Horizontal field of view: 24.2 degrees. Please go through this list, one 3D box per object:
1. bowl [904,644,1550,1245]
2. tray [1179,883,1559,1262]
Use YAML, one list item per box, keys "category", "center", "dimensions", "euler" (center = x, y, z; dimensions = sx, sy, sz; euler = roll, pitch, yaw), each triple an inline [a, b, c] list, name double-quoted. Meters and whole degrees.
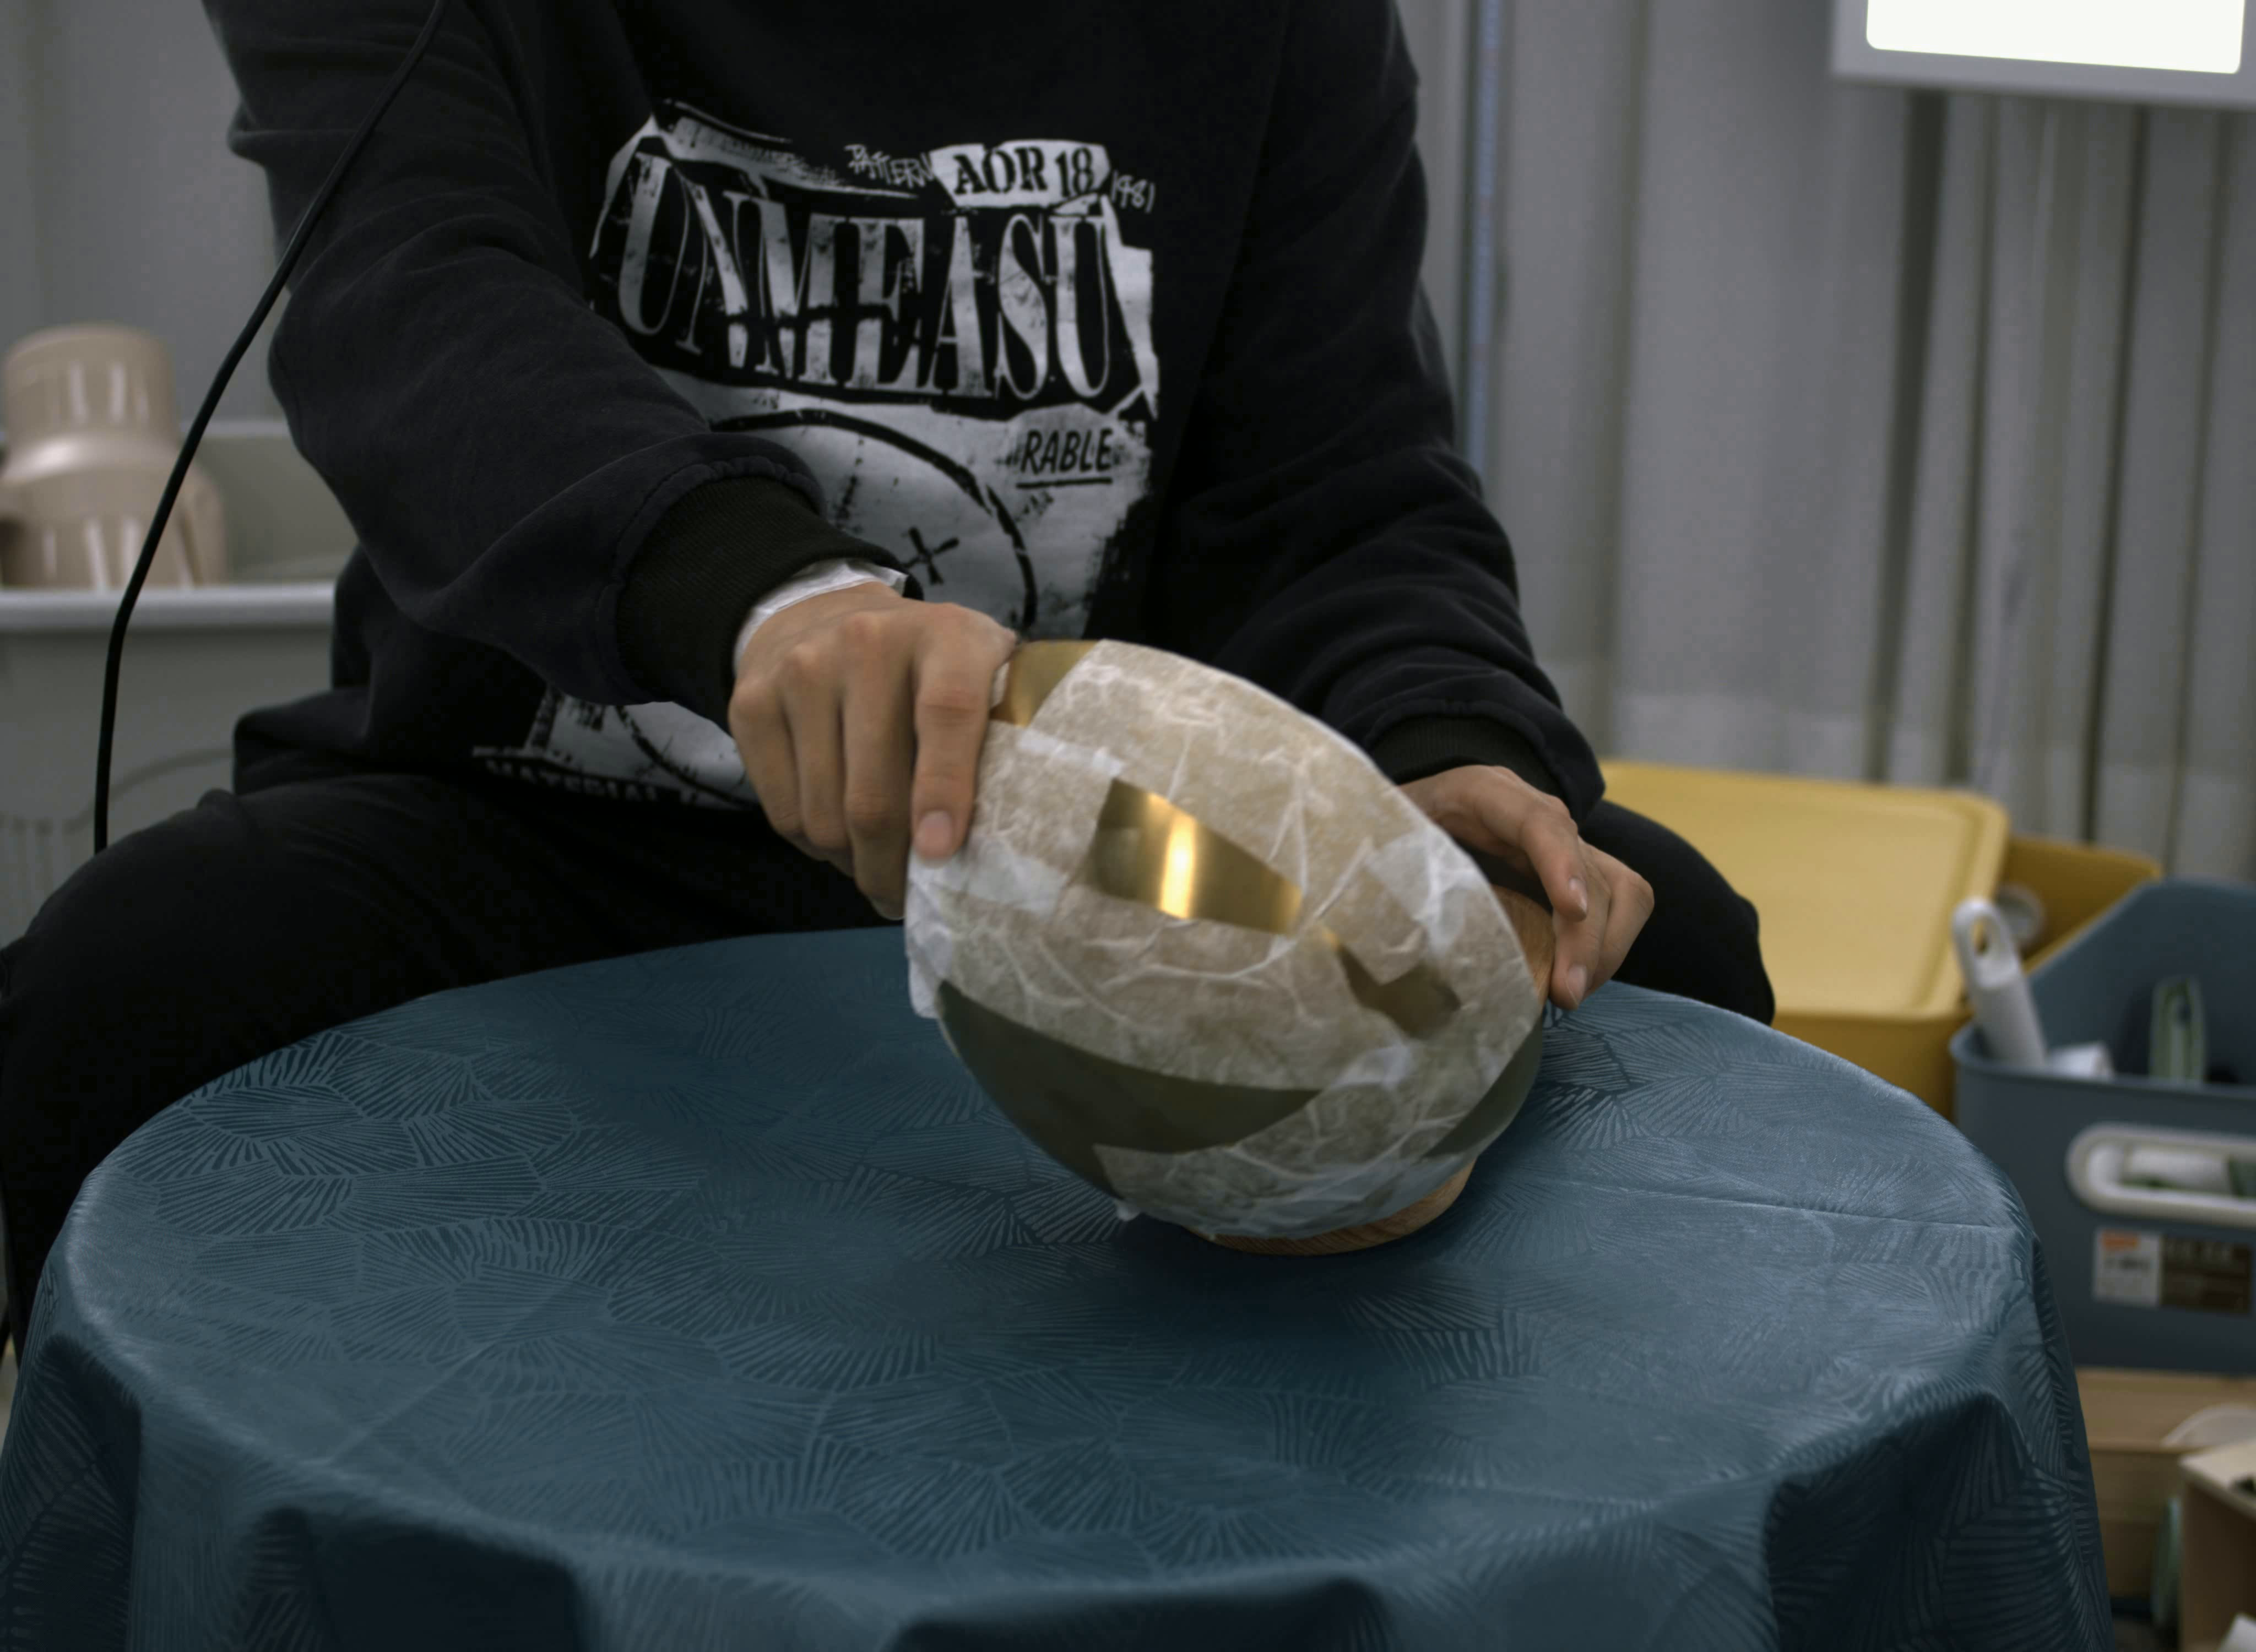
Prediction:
- category: "bowl"
  center: [0.011, 0.054, 1.513]
  dimensions: [0.212, 0.218, 0.094]
  euler: [14, 54, 37]
- category: "tray"
  center: [0.074, 0.075, 1.661]
  dimensions: [0.101, 0.020, 0.230]
  euler: [1, 28, 15]
